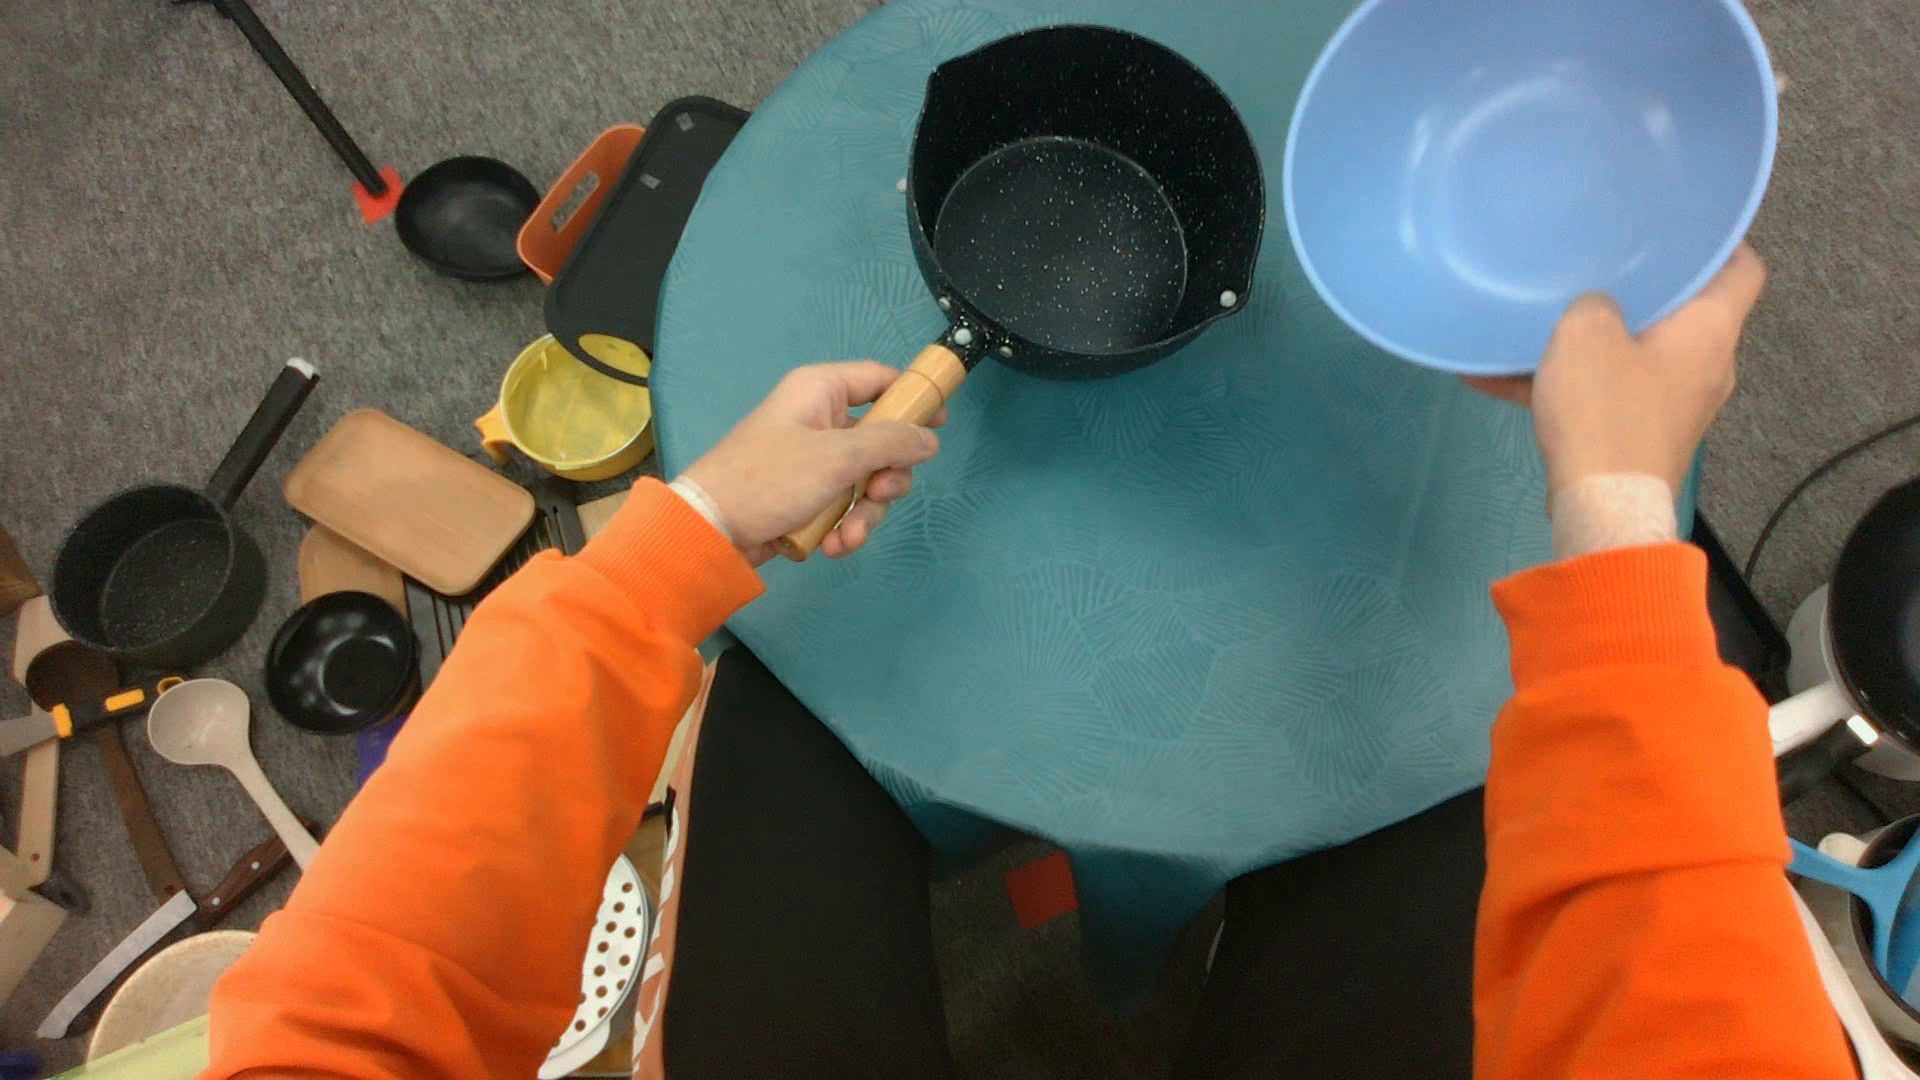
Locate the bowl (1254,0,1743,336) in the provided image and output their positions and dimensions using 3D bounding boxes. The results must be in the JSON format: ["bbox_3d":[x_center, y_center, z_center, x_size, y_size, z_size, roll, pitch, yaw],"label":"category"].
[{"bbox_3d":[0.241,-0.187,0.613,0.196,0.096,0.196,3,95,34],"label":"bowl"}]

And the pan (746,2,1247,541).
[{"bbox_3d":[0.007,-0.122,0.704,0.207,0.108,0.344,37,73,0],"label":"pan"}]
